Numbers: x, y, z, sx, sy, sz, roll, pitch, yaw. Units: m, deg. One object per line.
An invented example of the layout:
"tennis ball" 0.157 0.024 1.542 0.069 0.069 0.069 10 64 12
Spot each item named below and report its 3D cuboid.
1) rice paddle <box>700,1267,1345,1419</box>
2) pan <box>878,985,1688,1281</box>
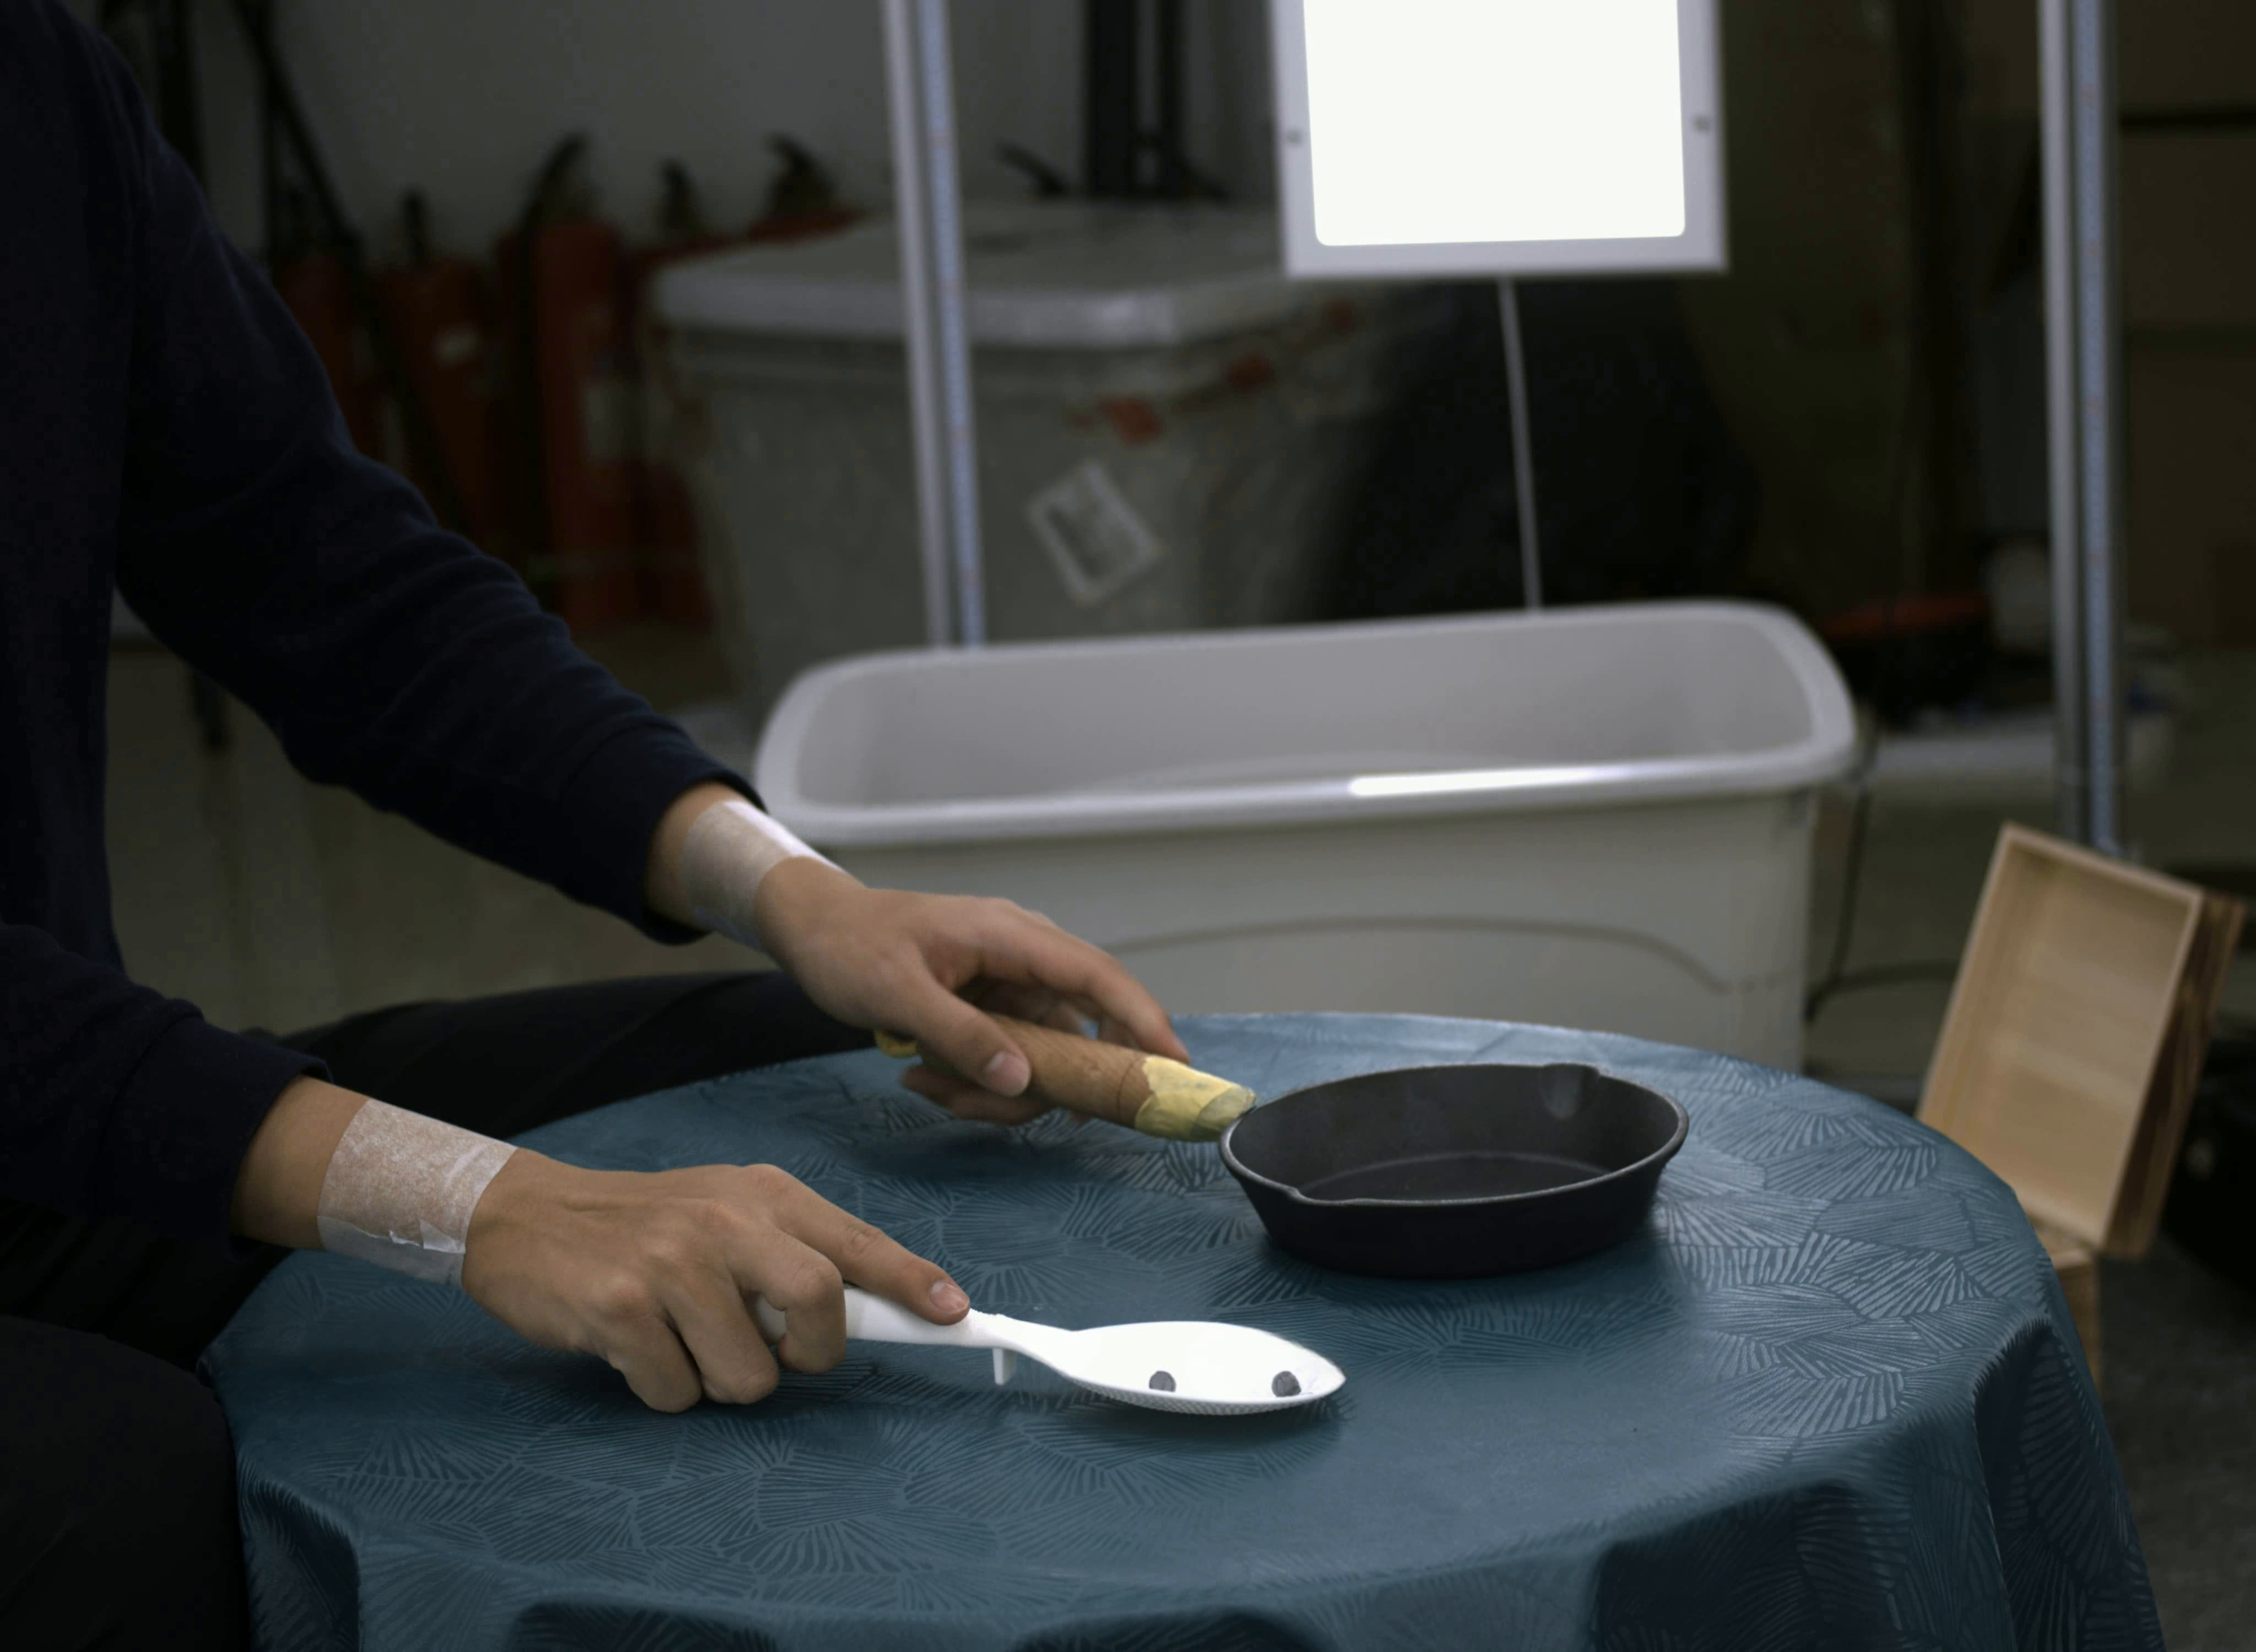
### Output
"rice paddle" -0.032 0.161 1.704 0.207 0.029 0.068 5 4 18
"pan" 0.043 0.099 1.885 0.331 0.050 0.164 9 19 39
